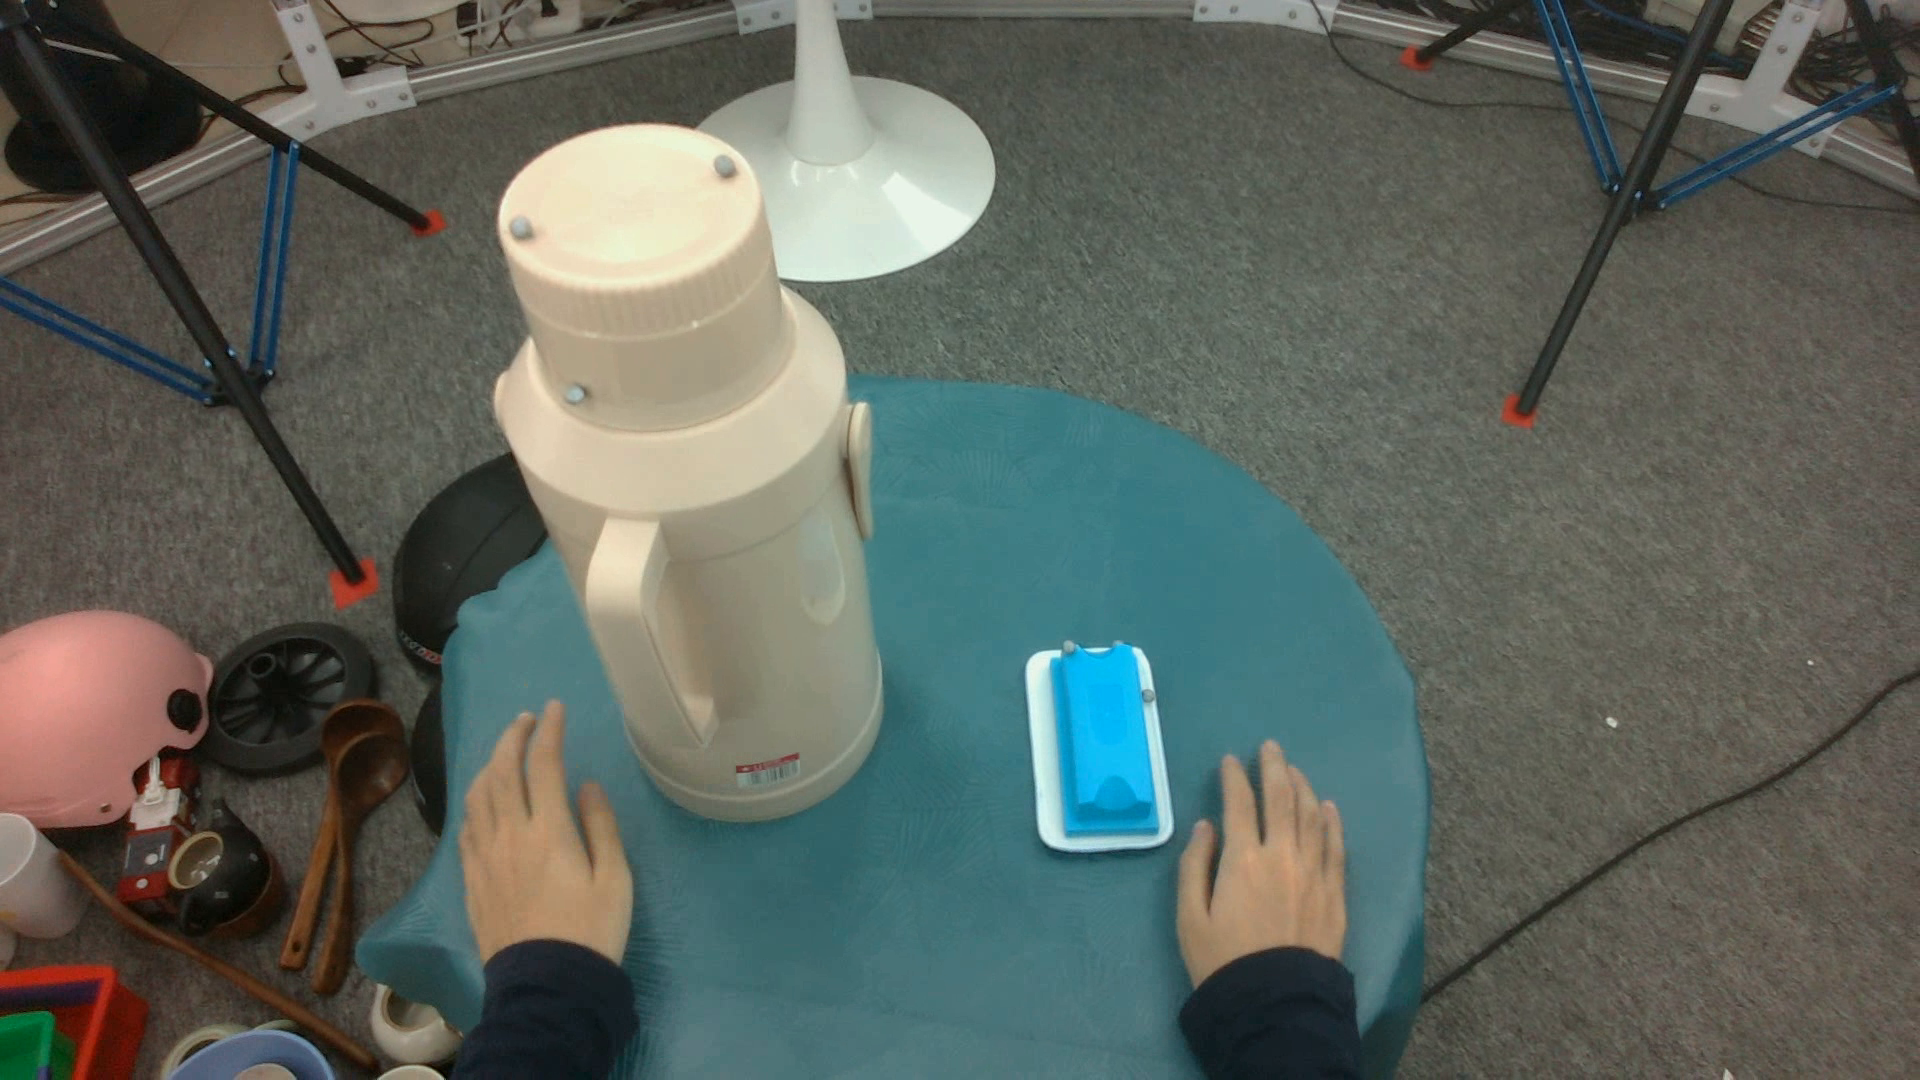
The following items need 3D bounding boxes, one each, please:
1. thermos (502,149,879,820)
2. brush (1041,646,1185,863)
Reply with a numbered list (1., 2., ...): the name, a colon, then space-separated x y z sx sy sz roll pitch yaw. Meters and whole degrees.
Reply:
1. thermos: -0.135 0.002 0.719 0.175 0.404 0.208 5 53 3
2. brush: 0.089 0.122 0.831 0.084 0.055 0.144 -3 49 3
